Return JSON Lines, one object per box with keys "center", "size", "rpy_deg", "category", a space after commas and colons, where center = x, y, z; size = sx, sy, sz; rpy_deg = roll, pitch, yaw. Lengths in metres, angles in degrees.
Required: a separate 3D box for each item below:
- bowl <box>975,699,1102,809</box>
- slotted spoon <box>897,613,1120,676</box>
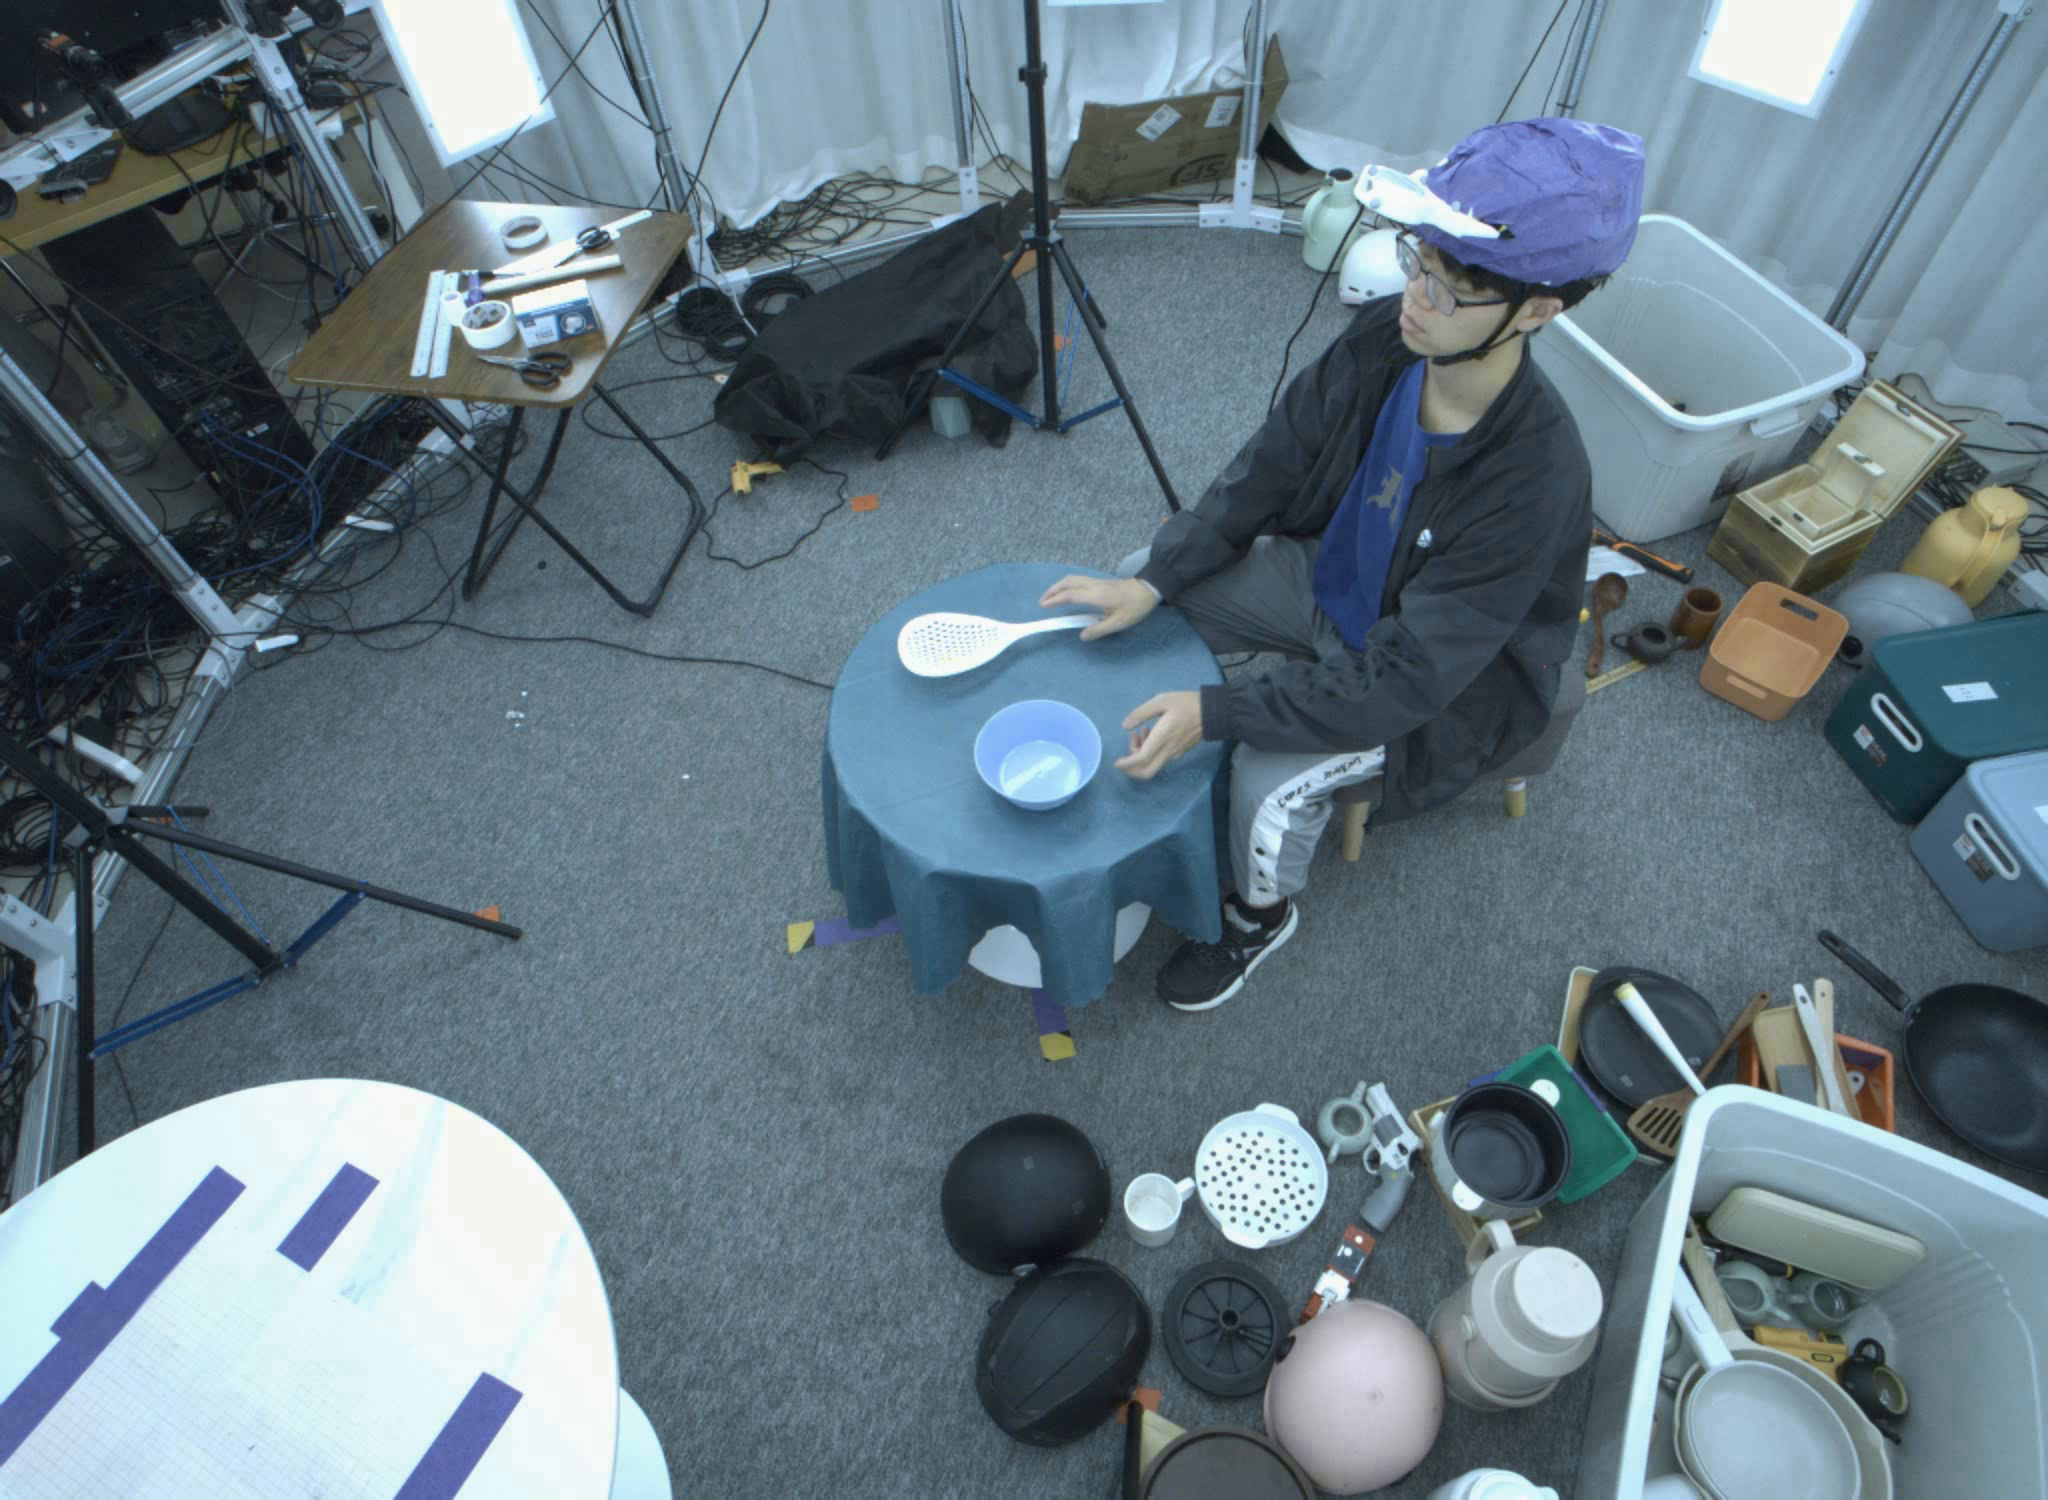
{"center": [0.021, 0.016, 1.722], "size": [0.176, 0.071, 0.174], "rpy_deg": [0, 55, 2], "category": "bowl"}
{"center": [-0.020, -0.175, 1.878], "size": [0.350, 0.051, 0.134], "rpy_deg": [-13, 48, -8], "category": "slotted spoon"}
